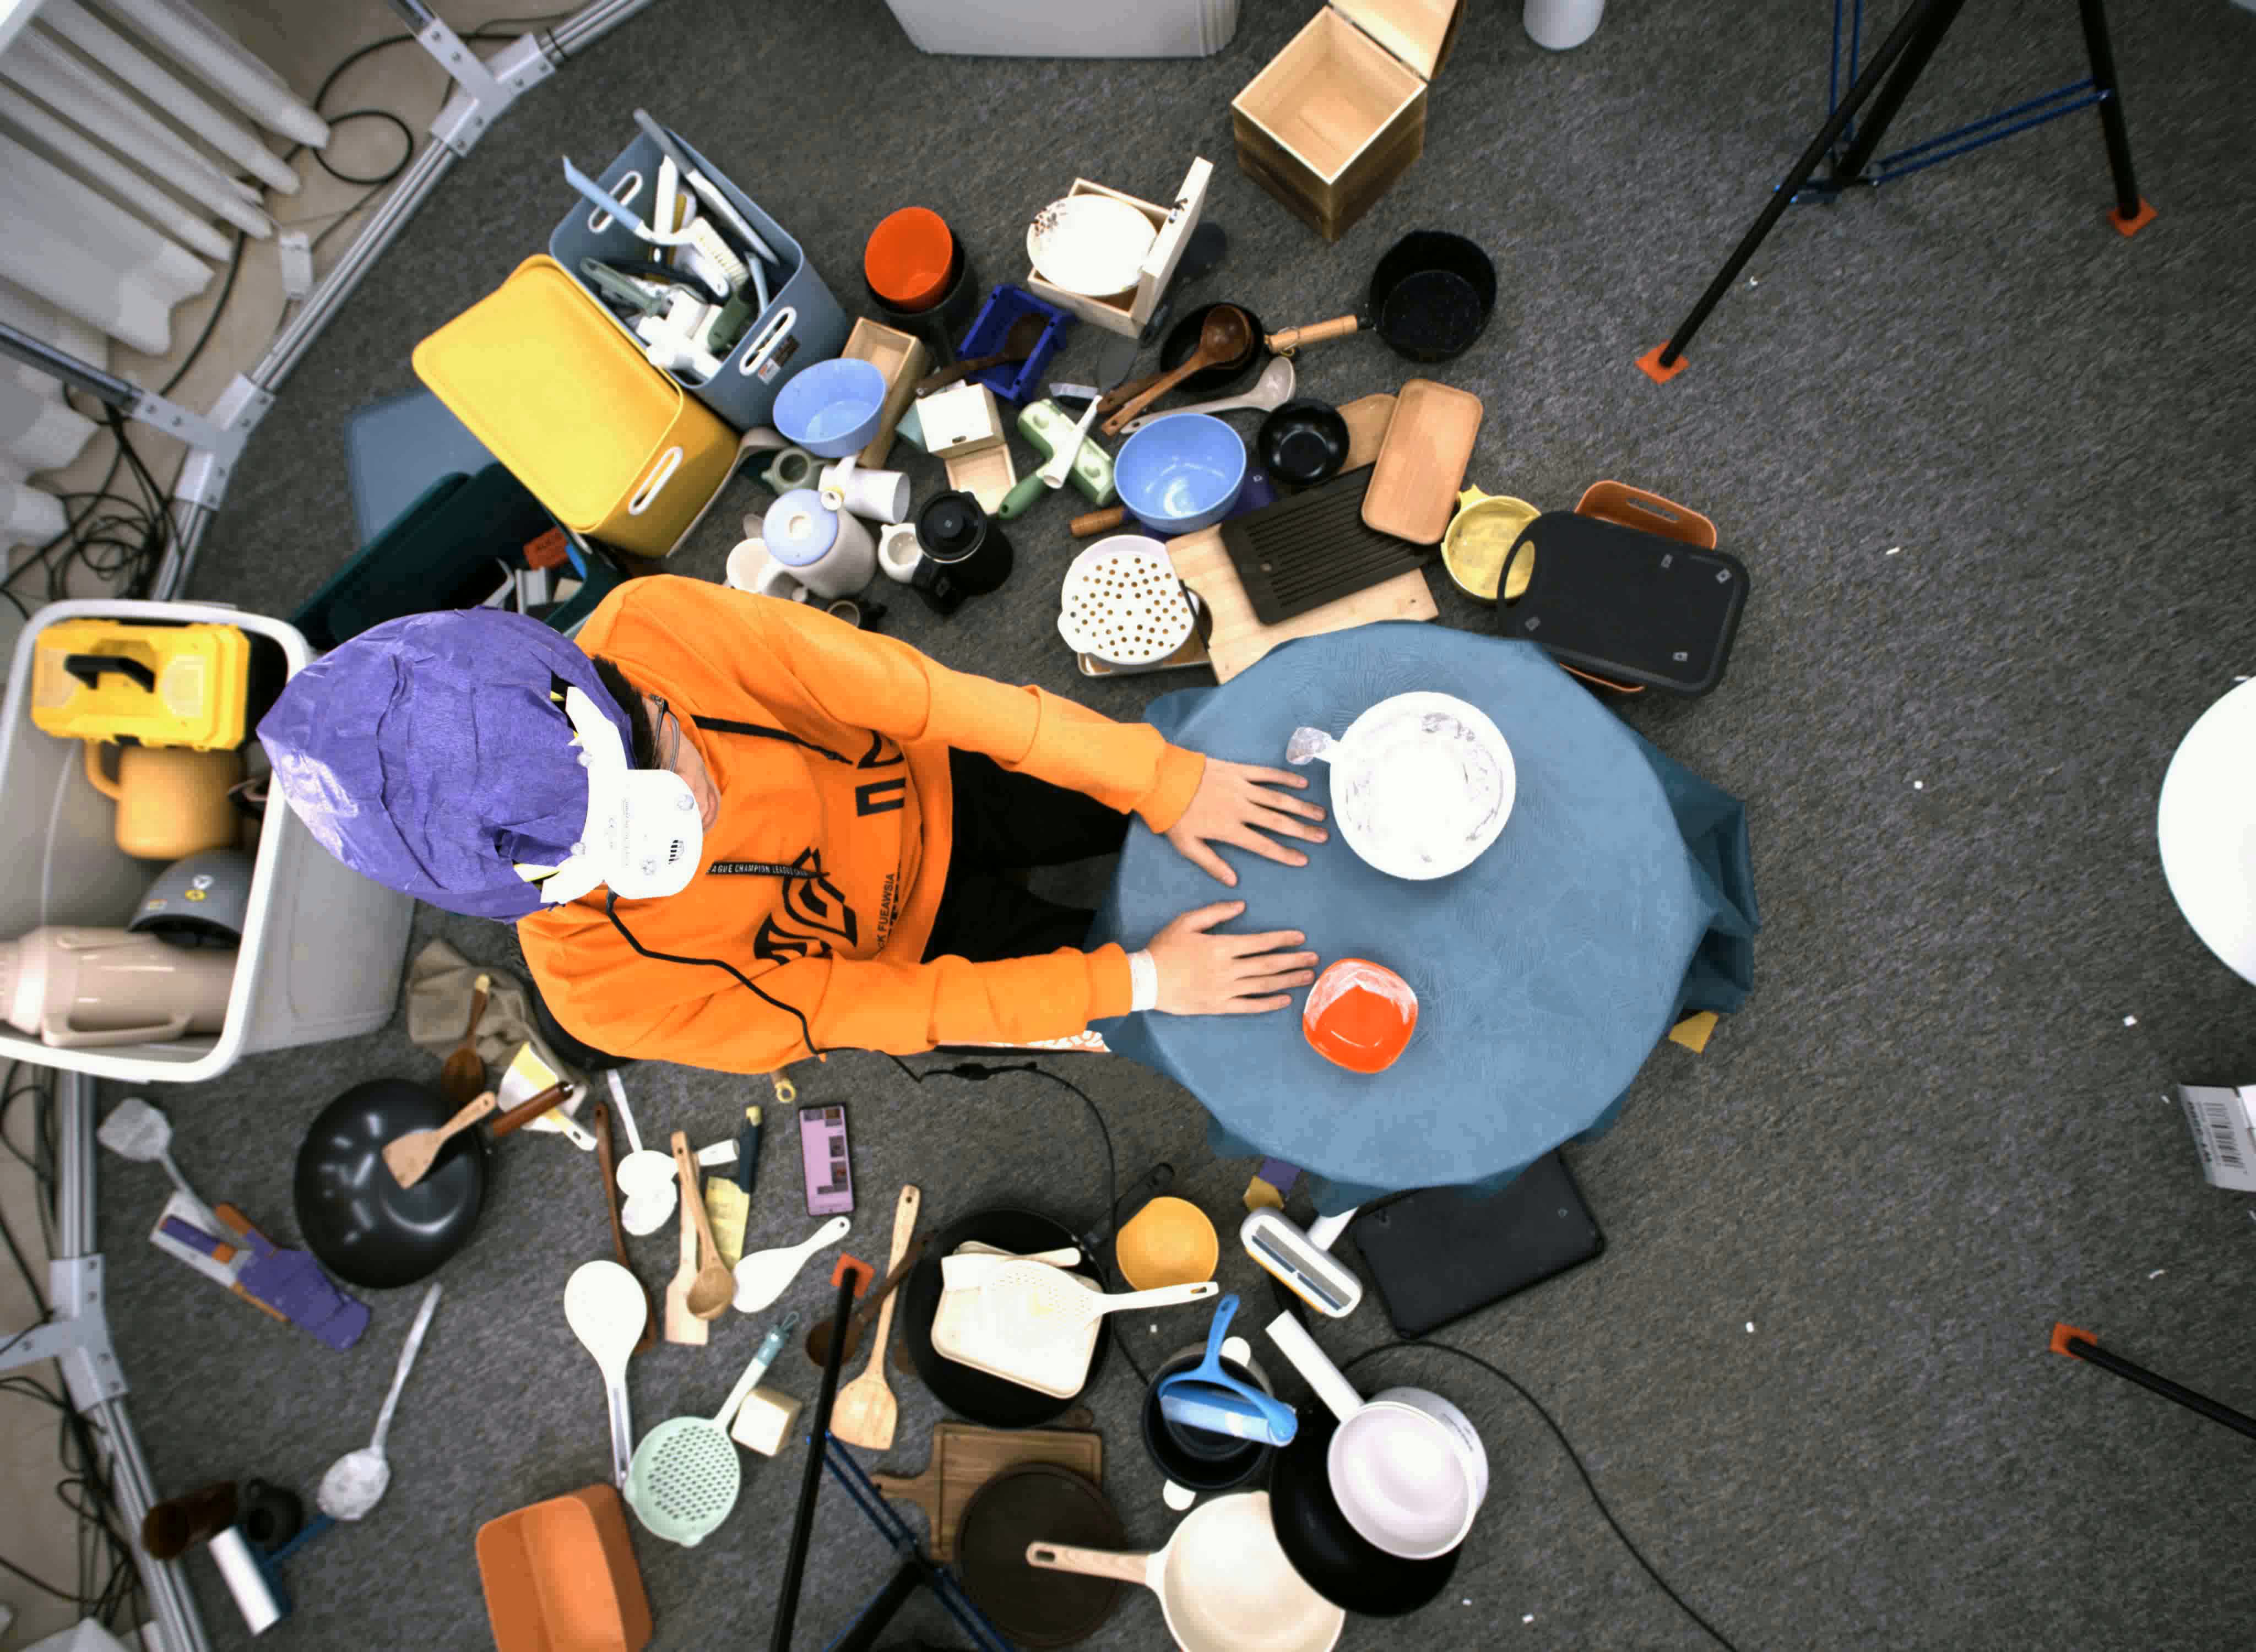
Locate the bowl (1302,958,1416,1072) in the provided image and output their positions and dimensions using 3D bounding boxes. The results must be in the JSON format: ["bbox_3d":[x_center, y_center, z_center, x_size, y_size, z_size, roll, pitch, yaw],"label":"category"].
[{"bbox_3d":[0.239,0.193,1.433,0.119,0.051,0.118,-1,88,9],"label":"bowl"}]

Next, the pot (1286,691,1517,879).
[{"bbox_3d":[0.270,-0.048,1.397,0.234,0.137,0.178,21,89,11],"label":"pot"}]
